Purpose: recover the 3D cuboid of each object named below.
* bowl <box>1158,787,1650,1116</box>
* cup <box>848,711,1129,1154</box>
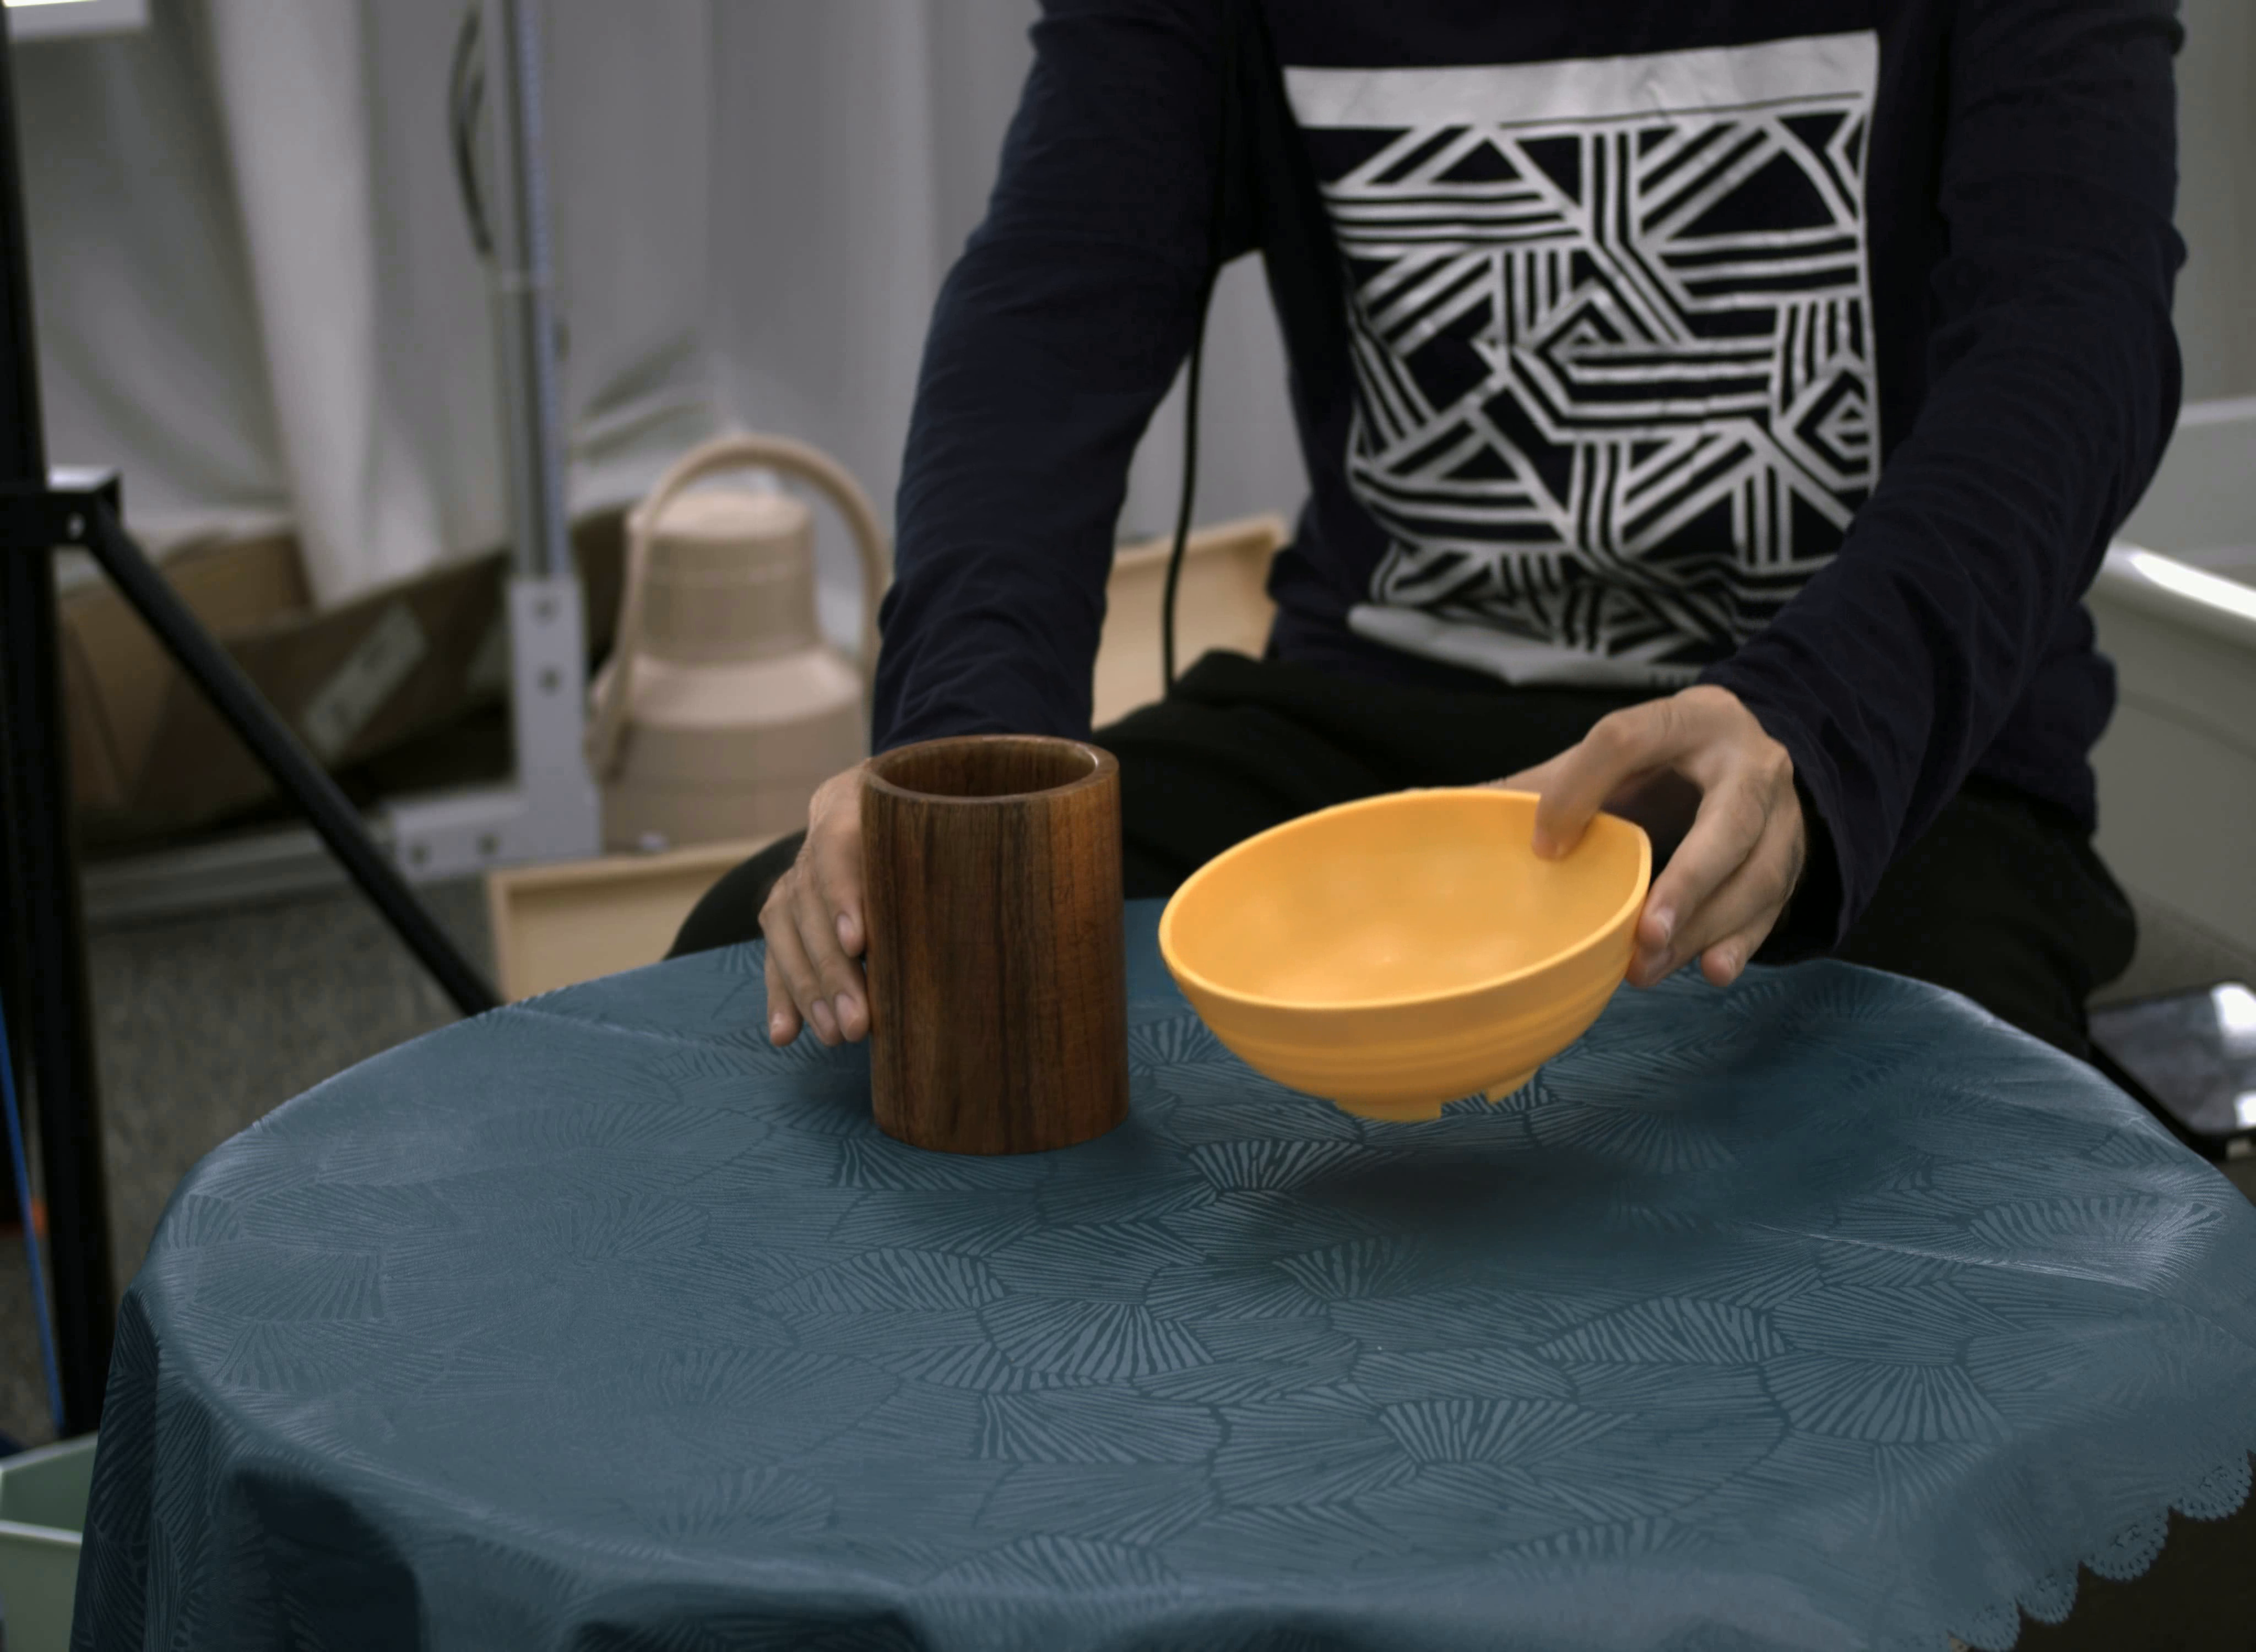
[{"bbox_3d":[0.084,0.044,1.555,0.145,0.060,0.146,-9,22,2],"label":"bowl"},{"bbox_3d":[-0.045,0.031,1.623,0.087,0.118,0.088,1,16,-2],"label":"cup"}]
